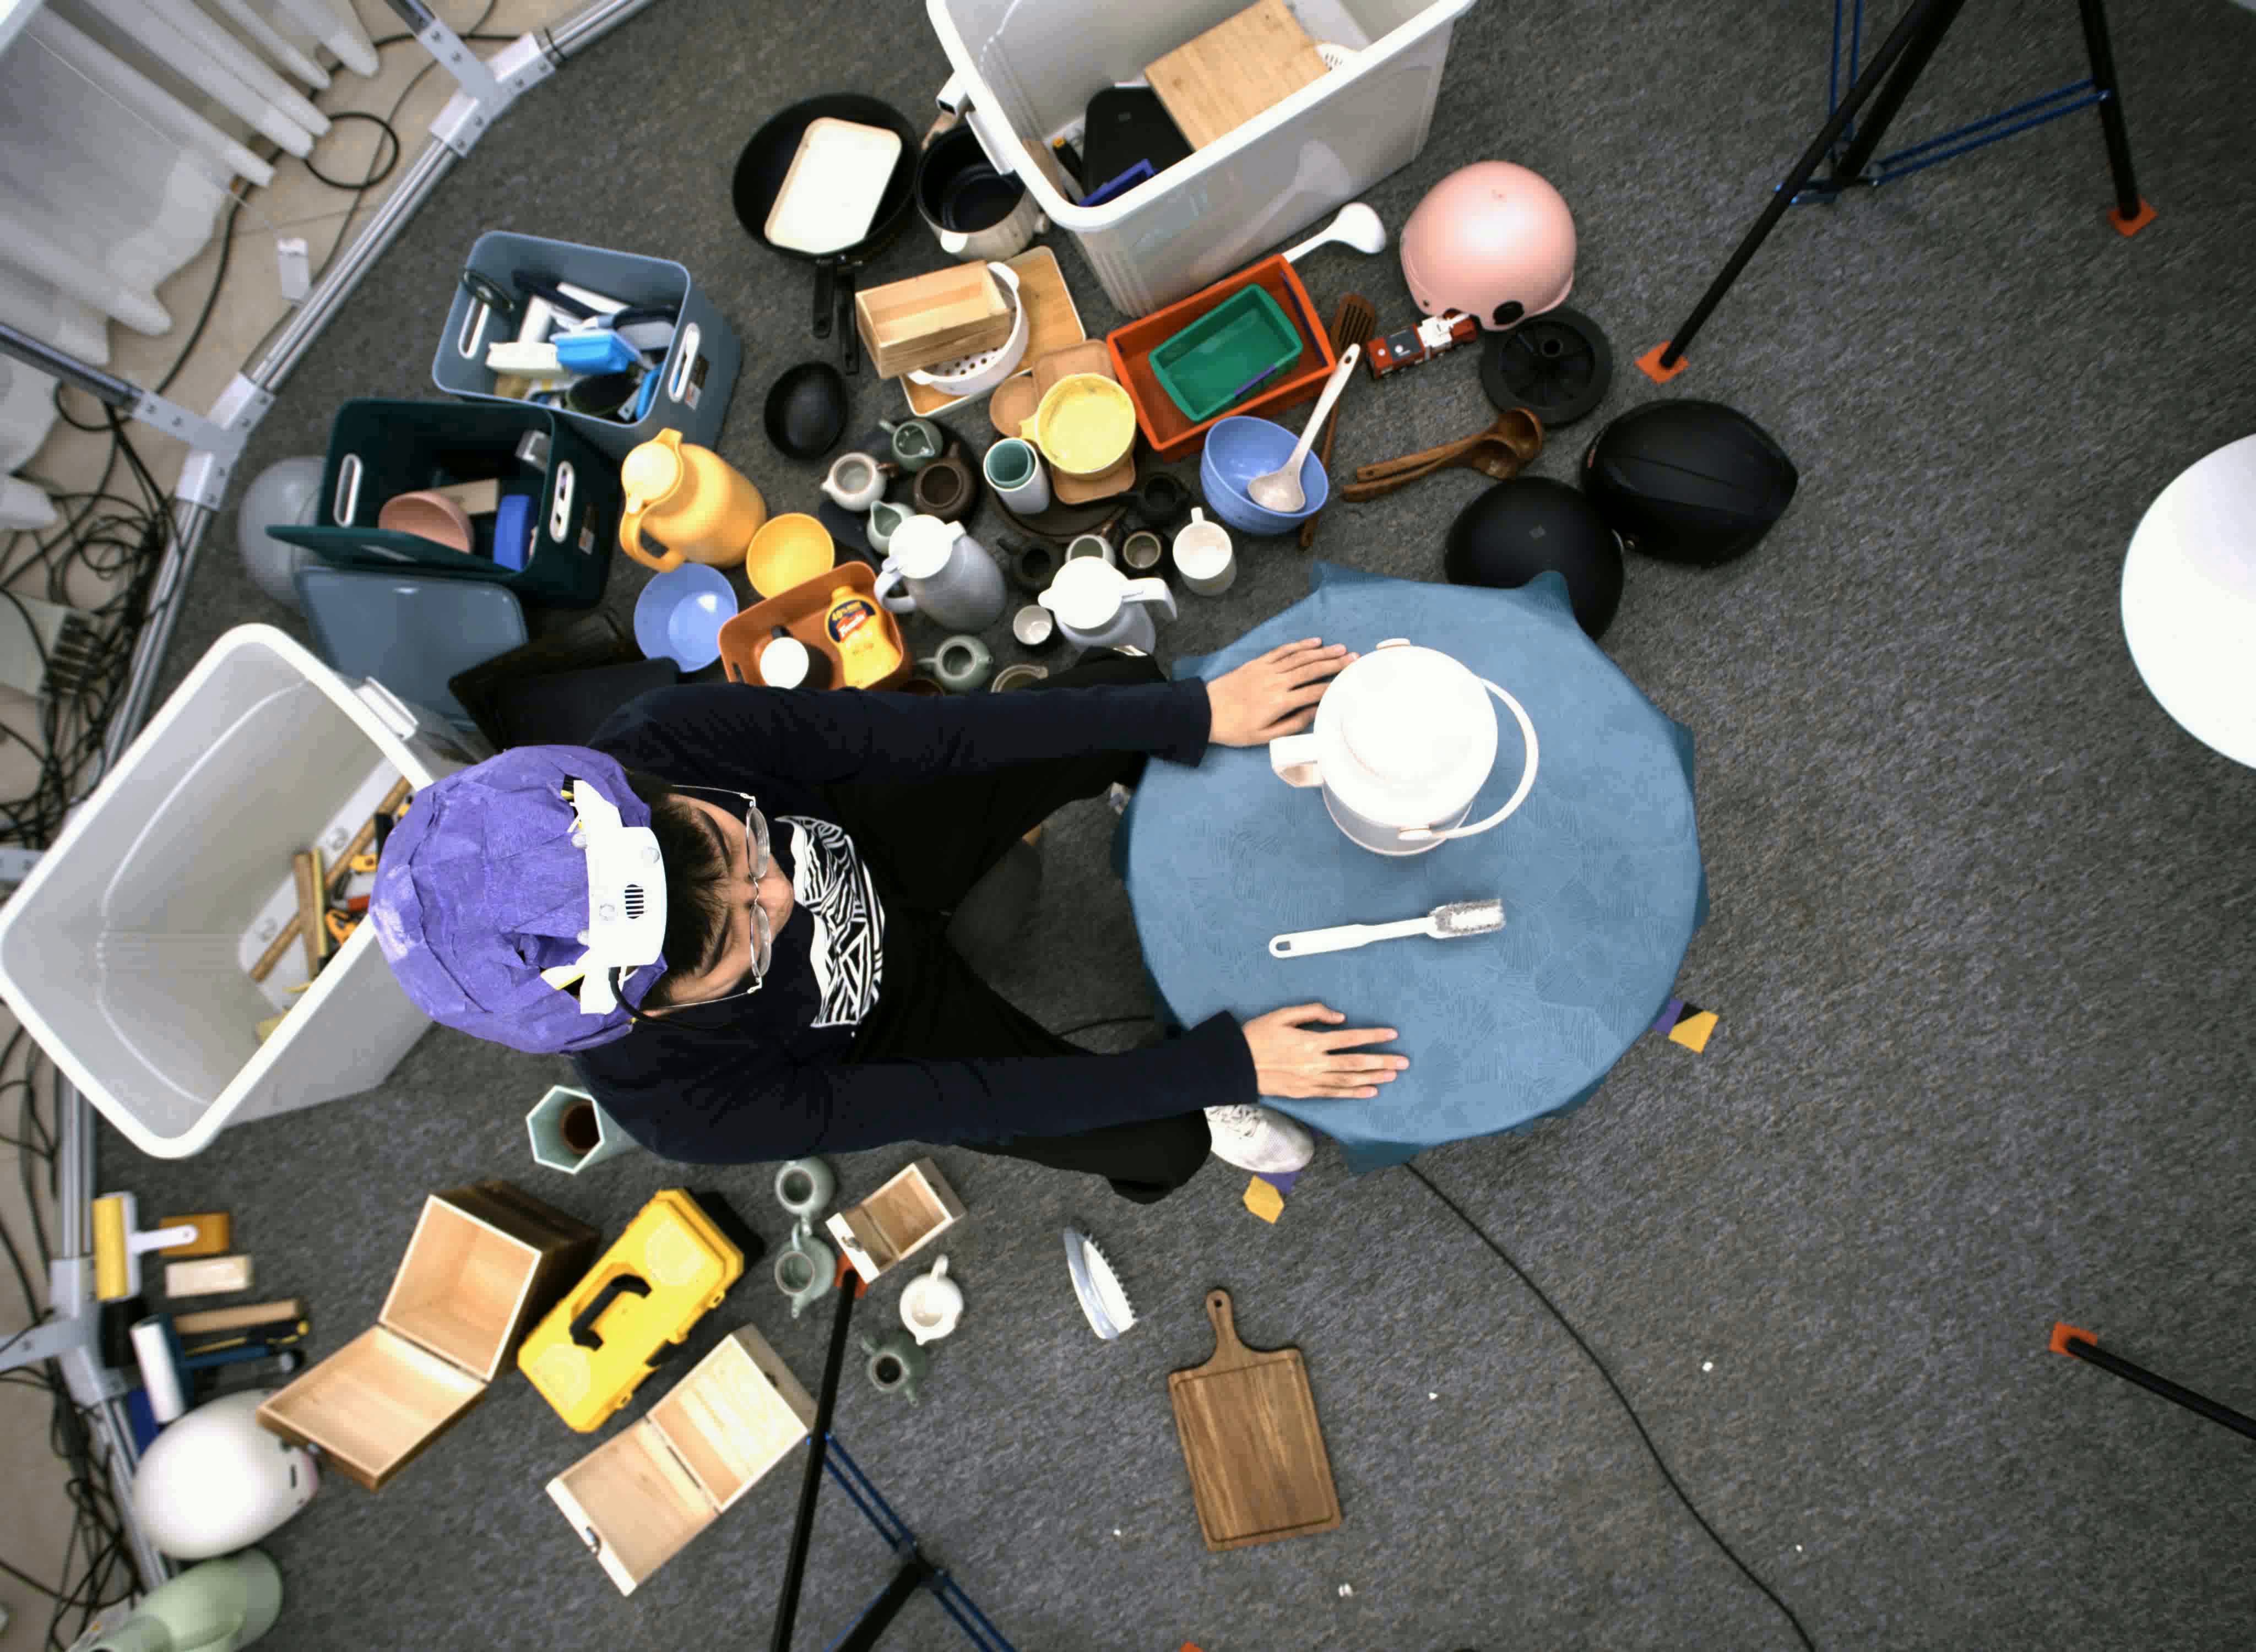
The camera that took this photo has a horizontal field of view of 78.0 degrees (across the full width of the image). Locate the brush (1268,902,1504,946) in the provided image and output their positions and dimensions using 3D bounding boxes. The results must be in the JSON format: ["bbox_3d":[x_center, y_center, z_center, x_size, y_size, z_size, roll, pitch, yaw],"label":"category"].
[{"bbox_3d":[0.265,0.103,1.434,0.245,0.050,0.034,-6,90,10],"label":"brush"}]

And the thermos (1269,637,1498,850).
[{"bbox_3d":[0.239,-0.070,1.271,0.208,0.406,0.174,-7,85,10],"label":"thermos"}]
